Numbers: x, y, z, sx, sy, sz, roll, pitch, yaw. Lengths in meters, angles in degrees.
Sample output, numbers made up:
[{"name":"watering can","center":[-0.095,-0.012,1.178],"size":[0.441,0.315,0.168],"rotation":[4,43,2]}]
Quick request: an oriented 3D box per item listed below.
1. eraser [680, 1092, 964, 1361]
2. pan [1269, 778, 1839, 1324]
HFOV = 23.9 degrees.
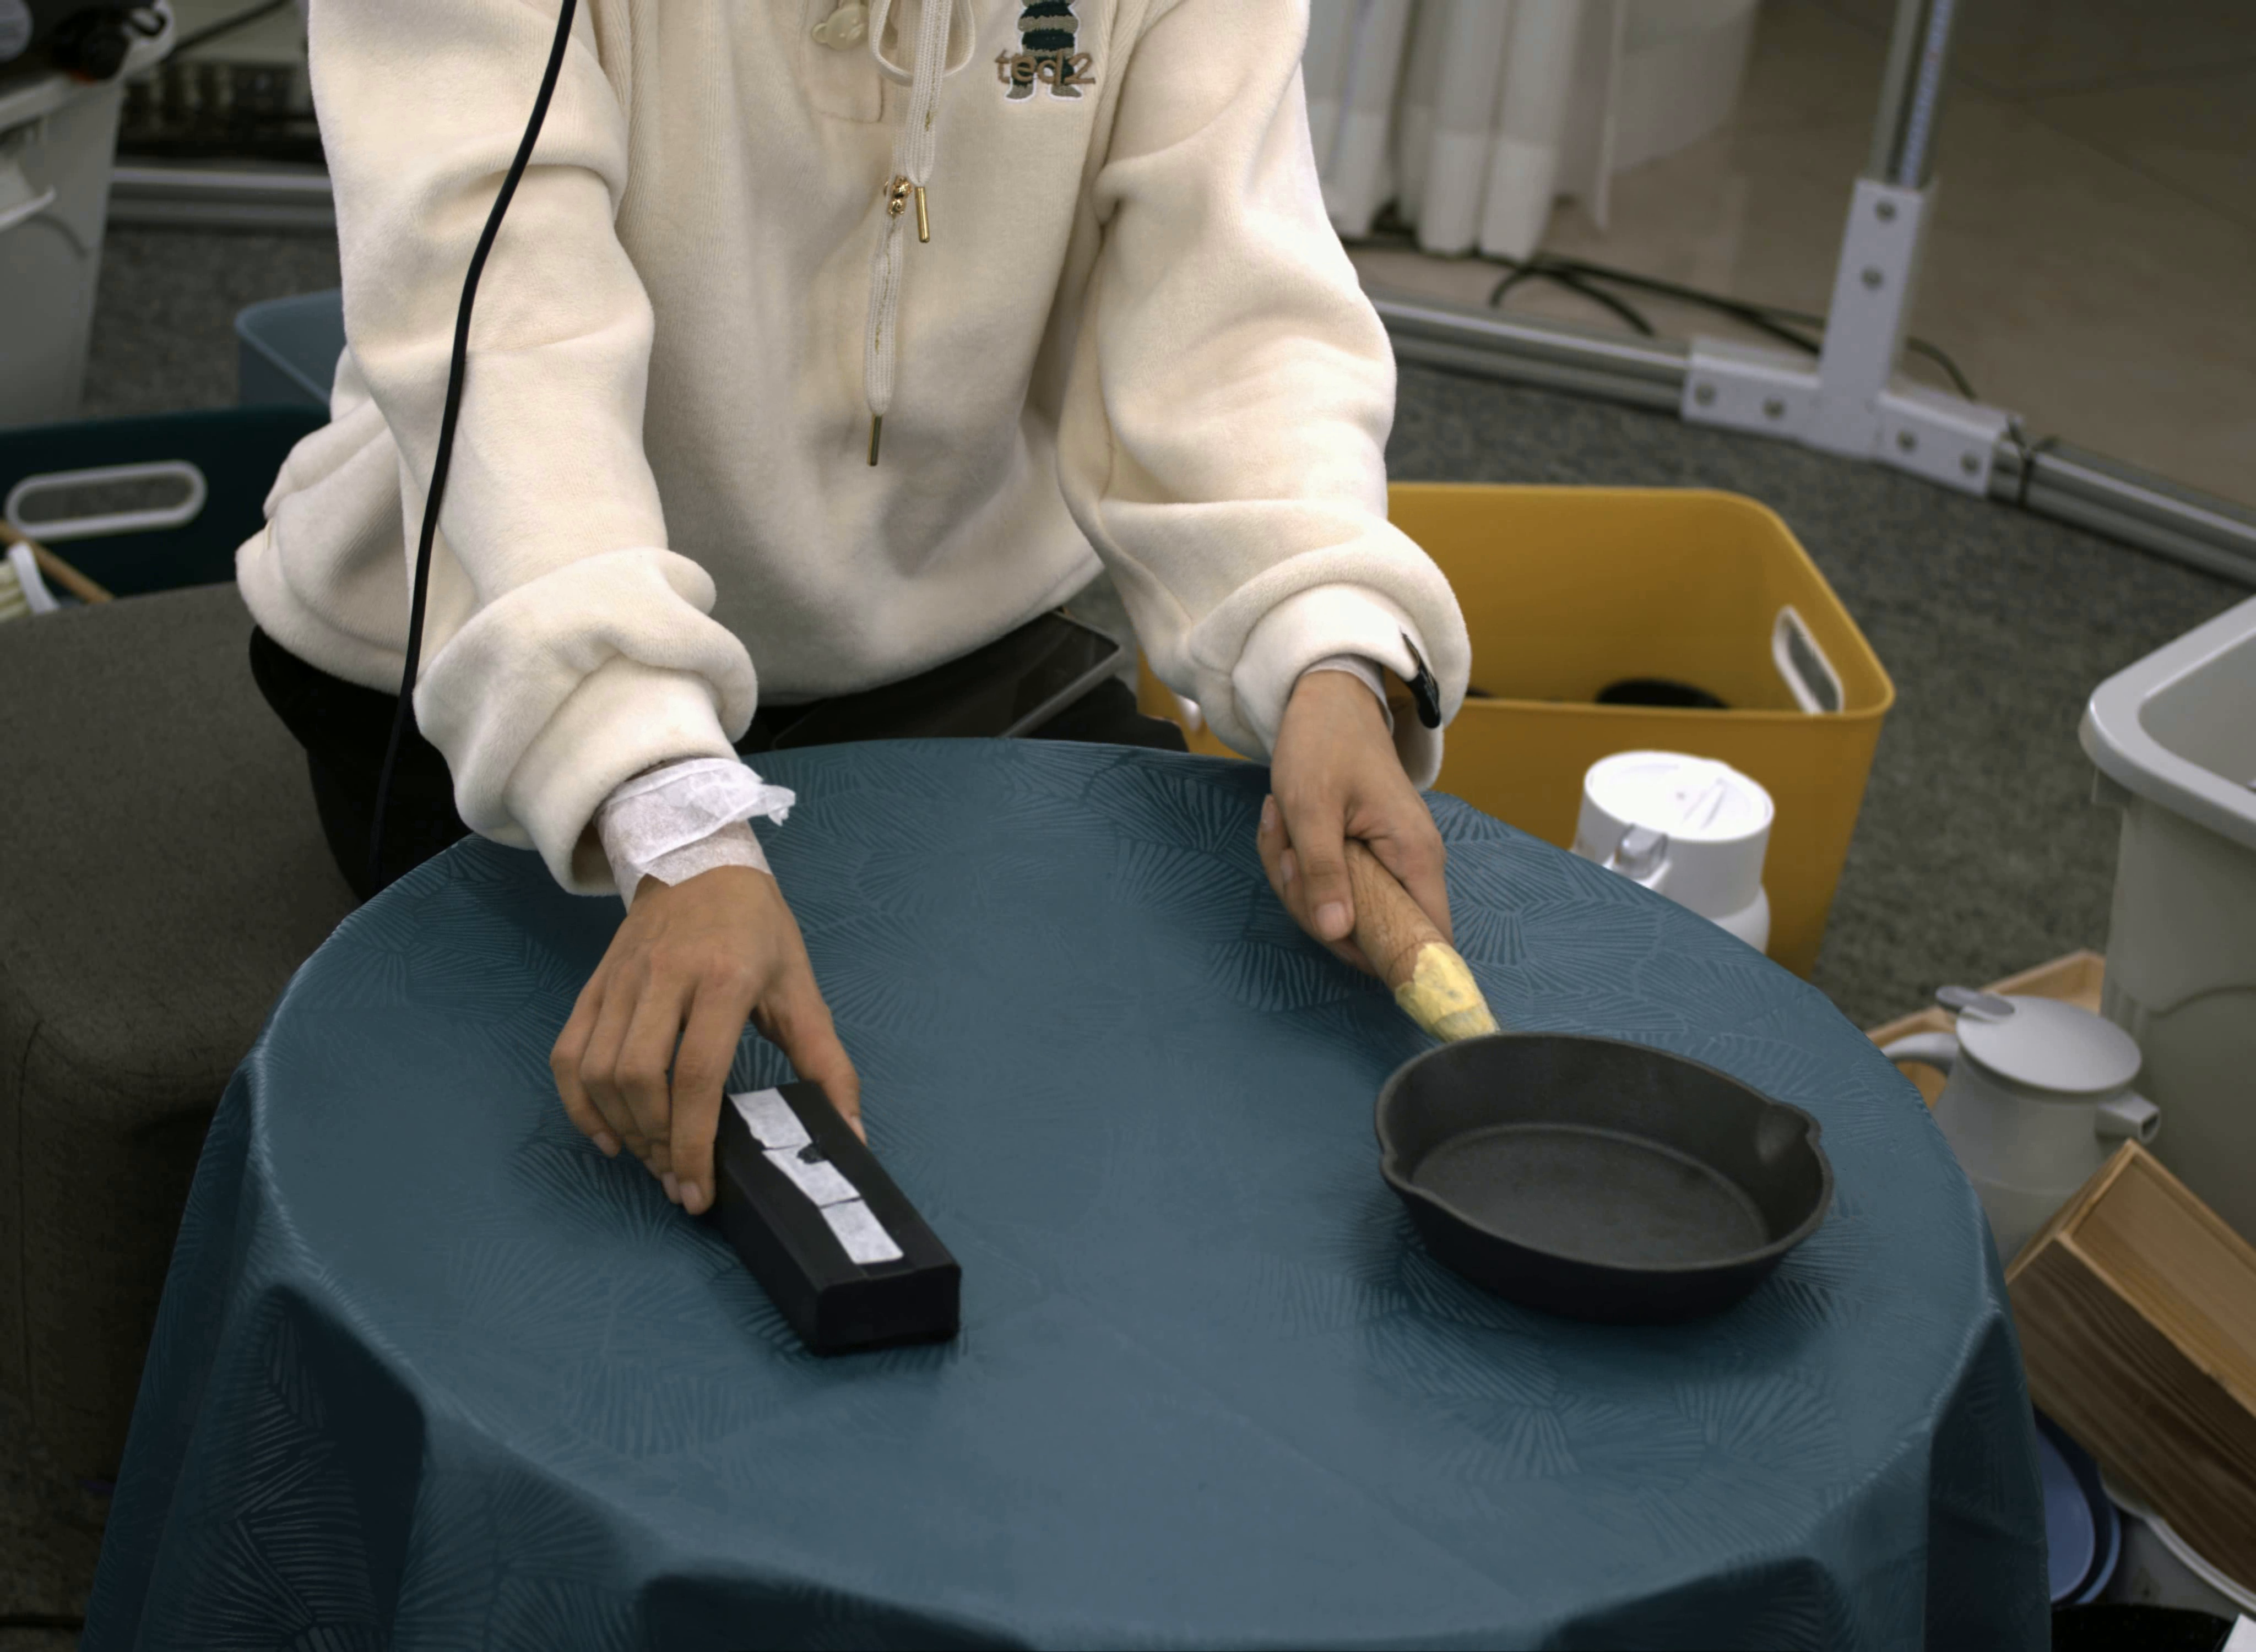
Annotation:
[{"name":"eraser","center":[-0.101,0.130,1.738],"size":[0.053,0.030,0.126],"rotation":[-7,28,-24]},{"name":"pan","center":[0.127,0.076,1.864],"size":[0.168,0.049,0.327],"rotation":[-6,30,-23]}]
